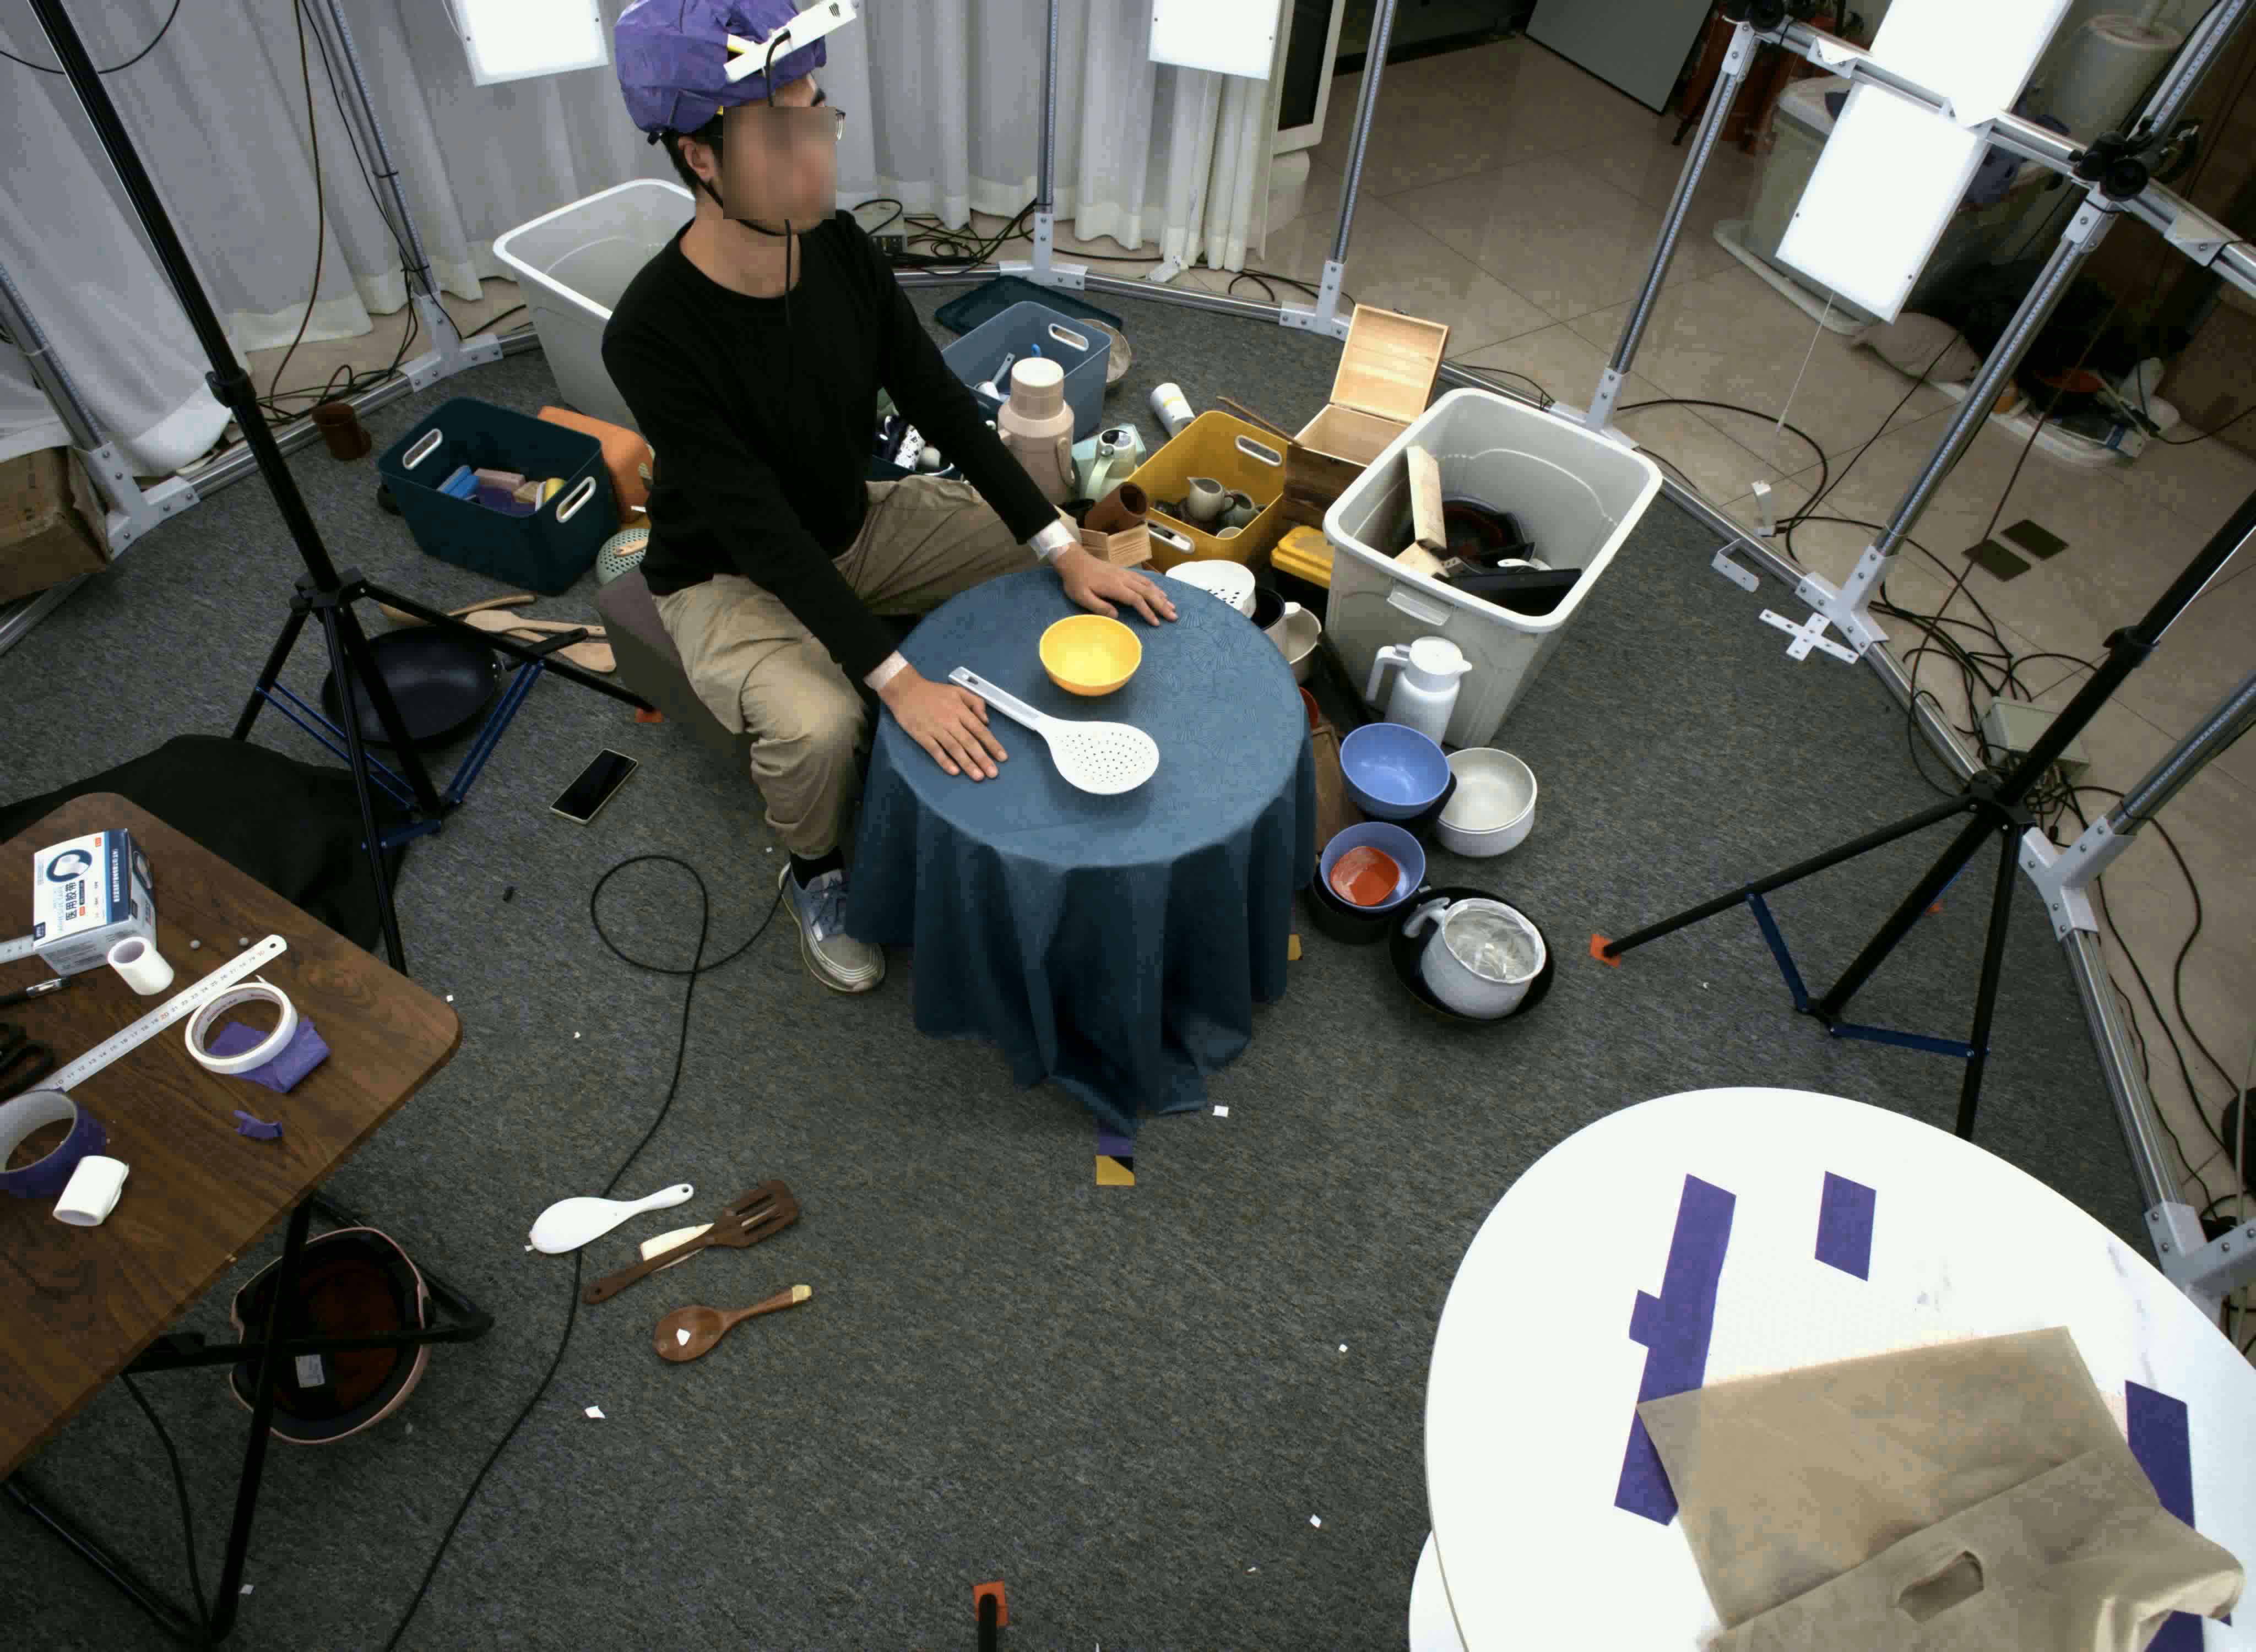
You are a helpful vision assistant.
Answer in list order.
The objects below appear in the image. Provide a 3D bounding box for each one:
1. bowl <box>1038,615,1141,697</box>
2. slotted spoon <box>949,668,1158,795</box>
[{"bbox_3d":[-0.057,-0.231,1.830,0.145,0.058,0.149,3,49,-4],"label":"bowl"},{"bbox_3d":[-0.112,-0.136,1.751,0.354,0.044,0.137,33,54,24],"label":"slotted spoon"}]
